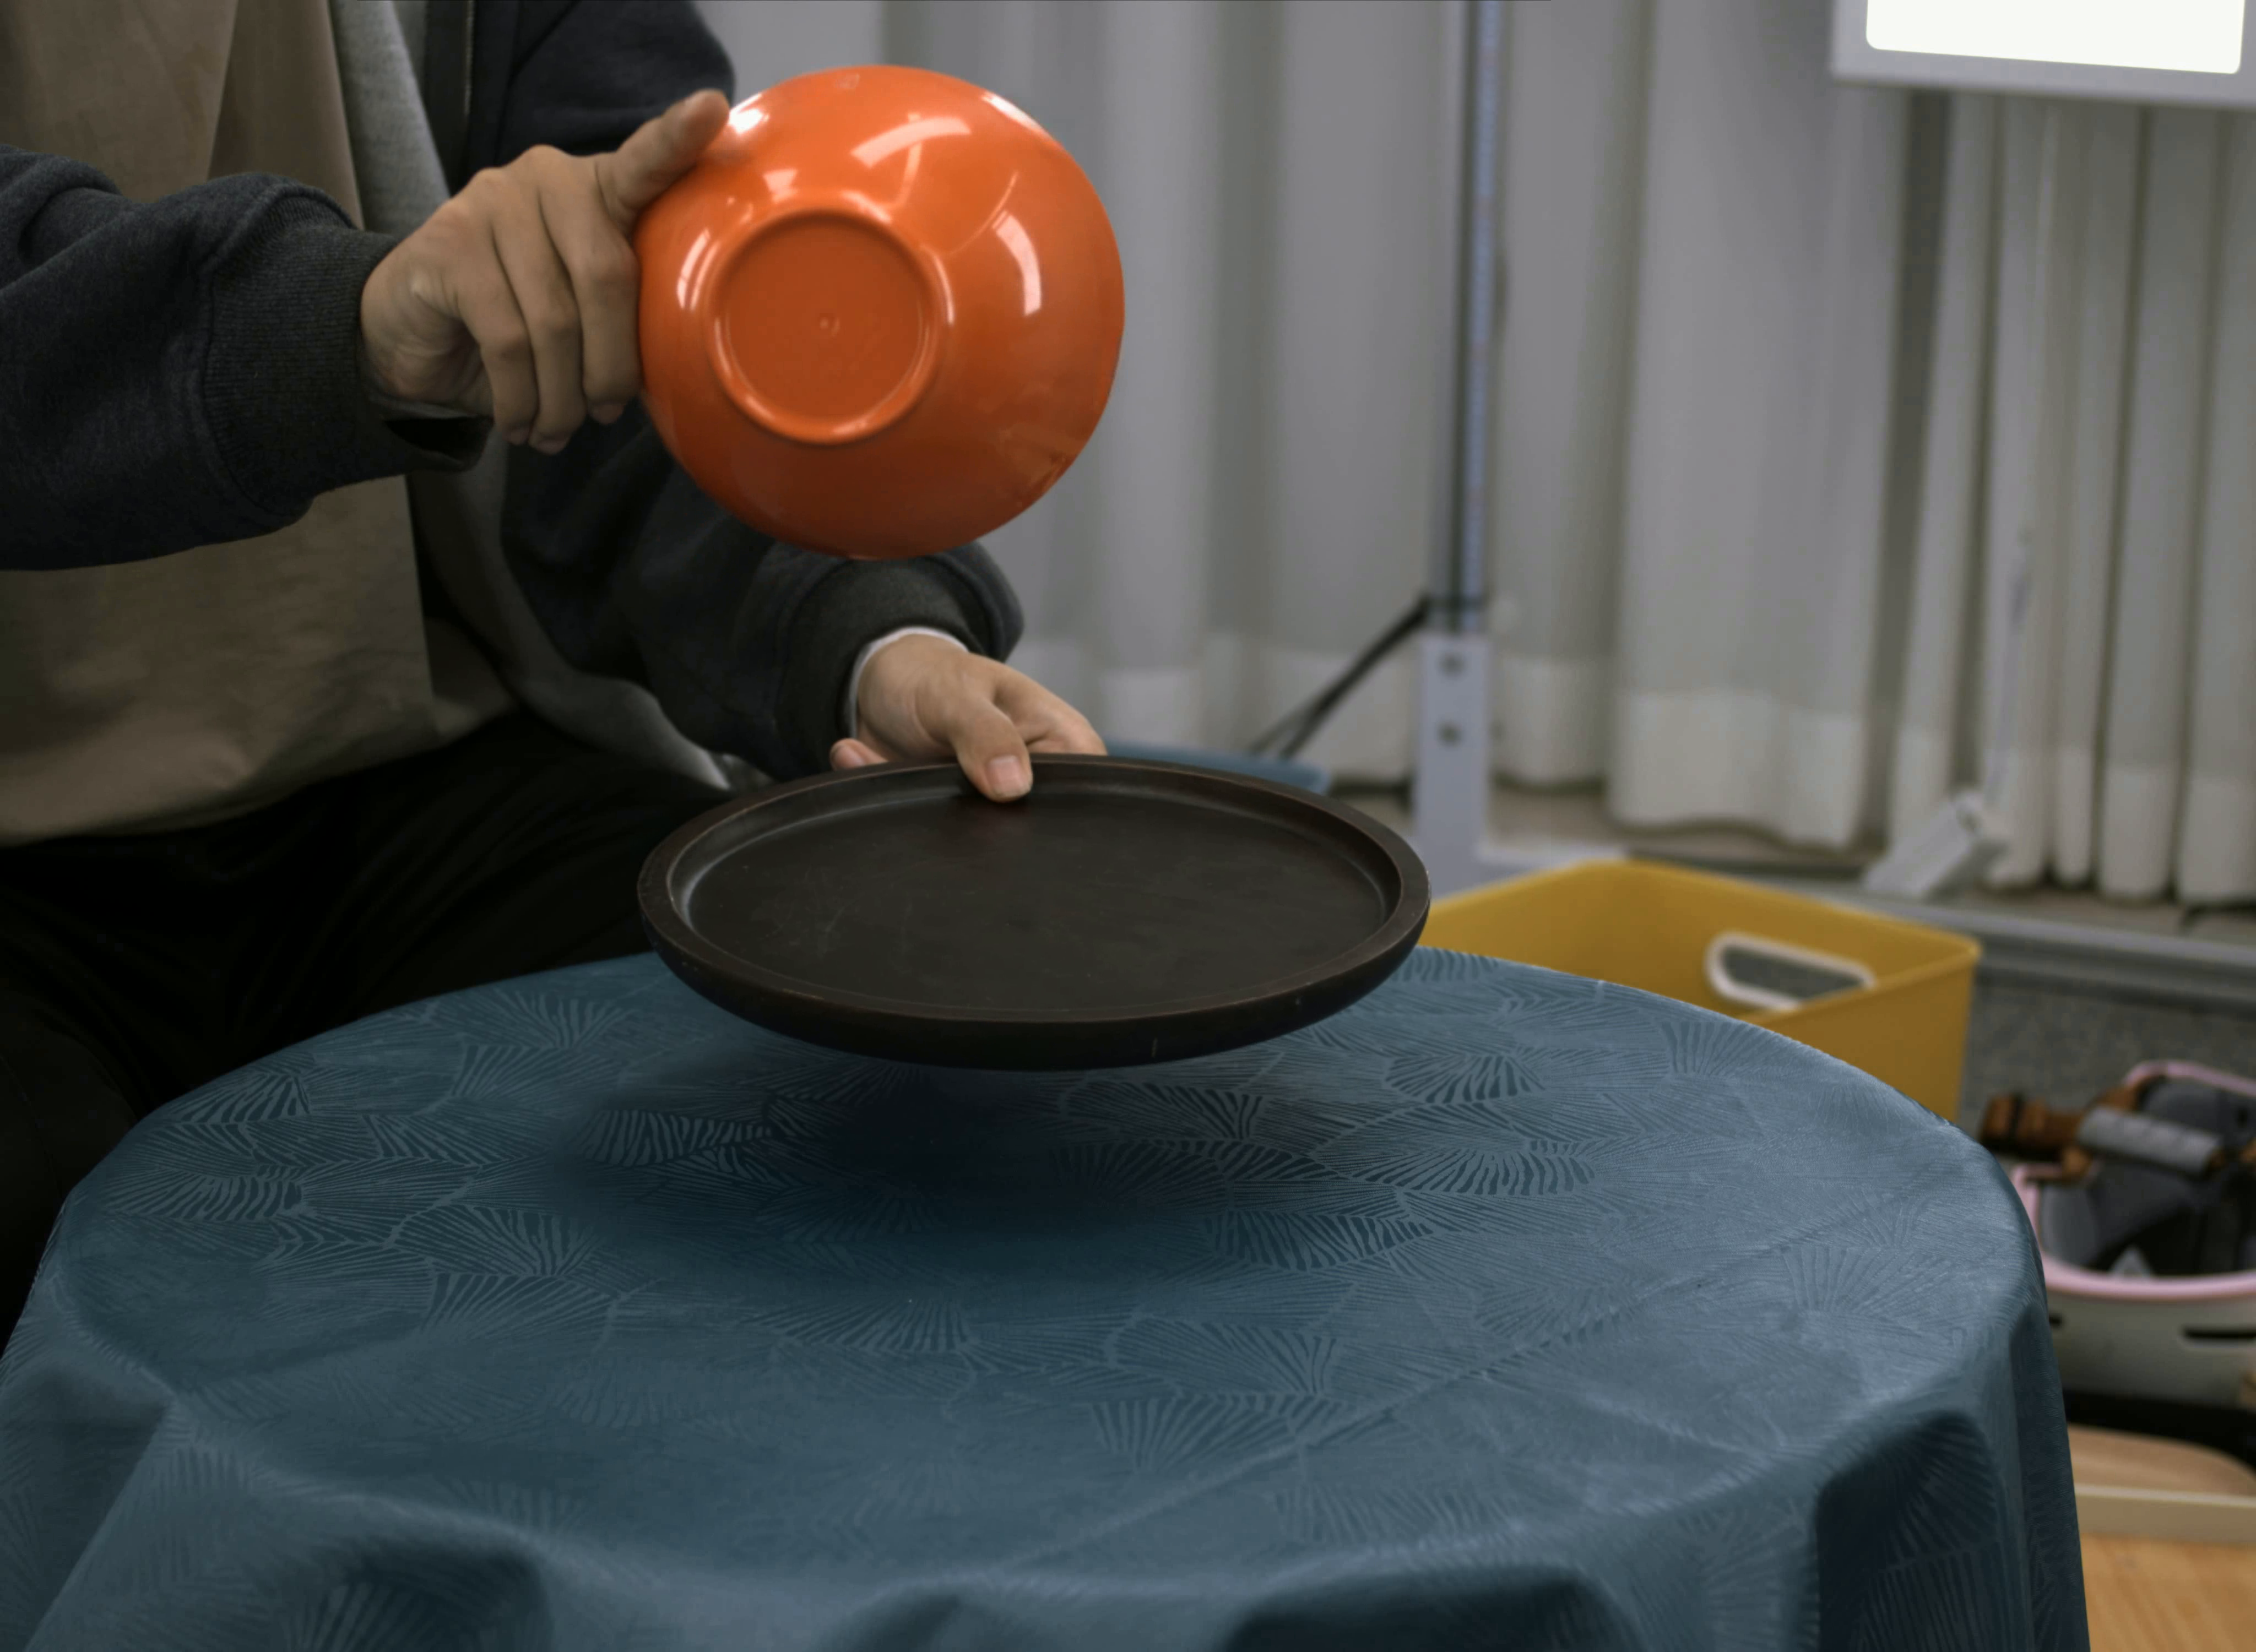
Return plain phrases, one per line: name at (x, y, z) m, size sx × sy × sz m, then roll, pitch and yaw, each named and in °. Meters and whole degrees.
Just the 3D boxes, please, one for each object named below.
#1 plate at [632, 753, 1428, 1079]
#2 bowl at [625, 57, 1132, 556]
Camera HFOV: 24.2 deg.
plate at (-0.030, 0.026, 1.674) m, size 0.254 × 0.029 × 0.253 m, roll 0°, pitch 20°, yaw 1°
bowl at (-0.074, -0.143, 1.497) m, size 0.147 × 0.149 × 0.104 m, roll 1°, pitch 13°, yaw 1°
